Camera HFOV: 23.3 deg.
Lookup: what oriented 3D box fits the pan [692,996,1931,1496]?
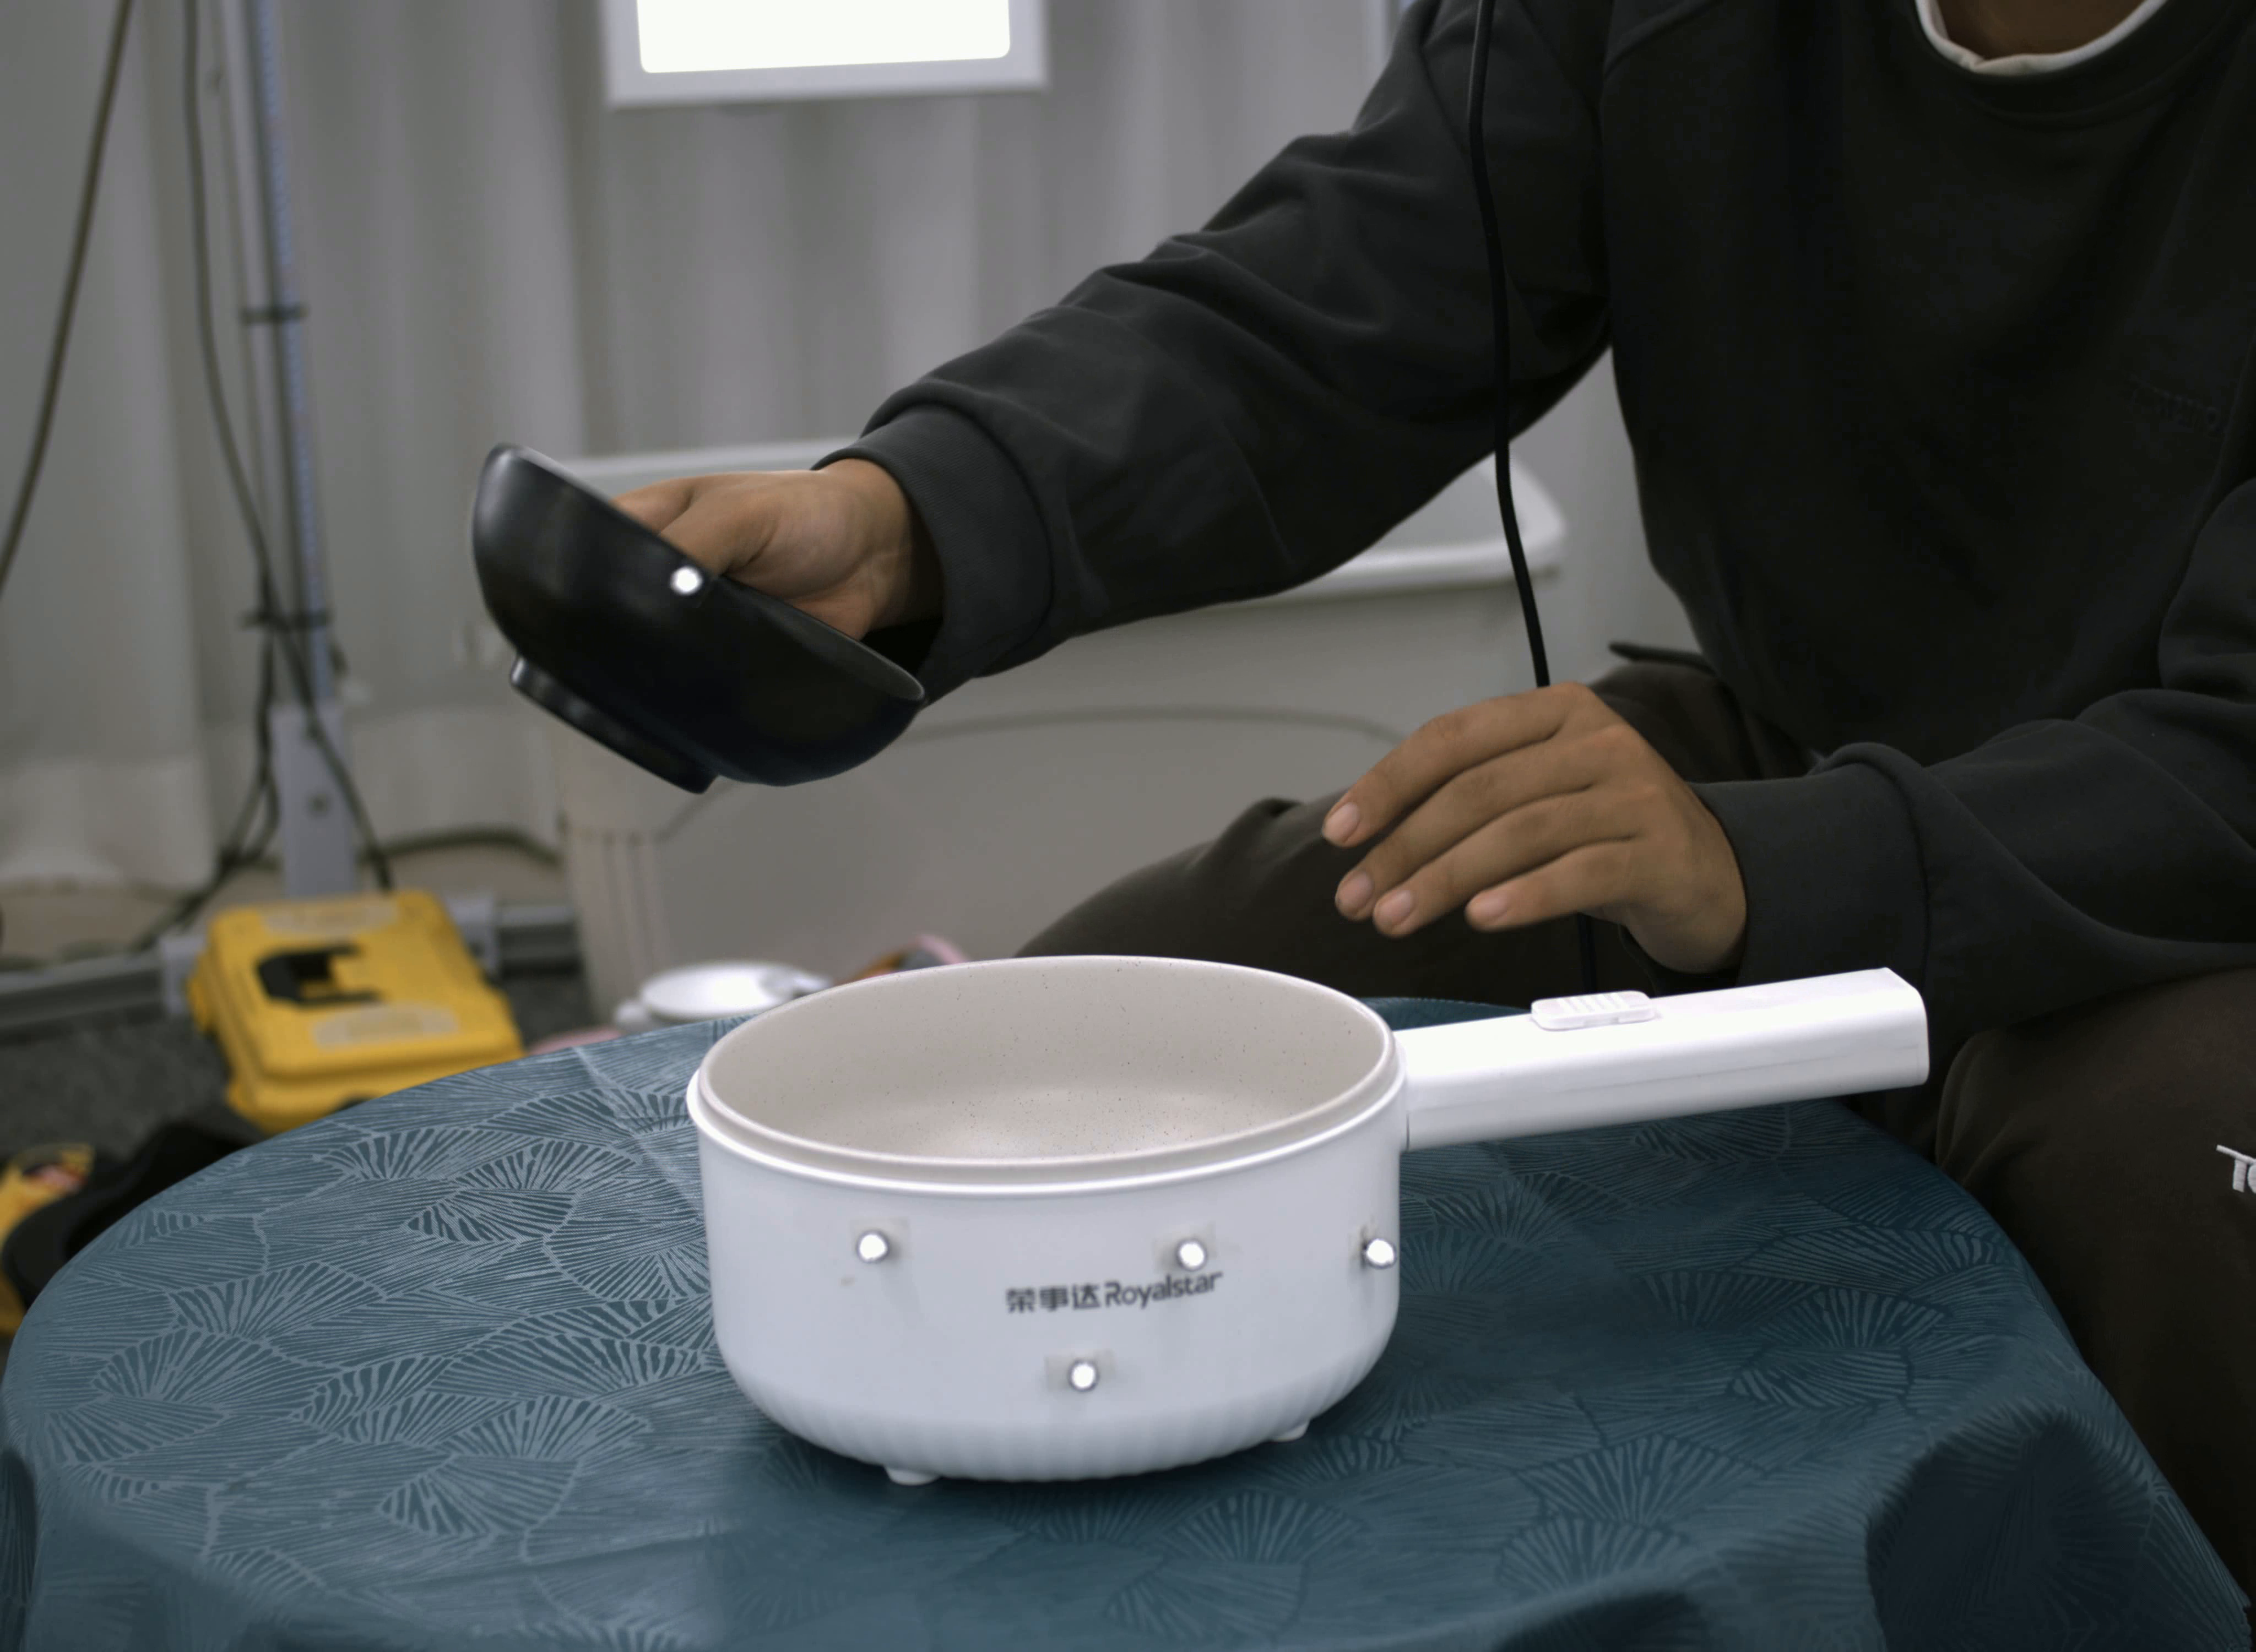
[{"bbox_3d":[0.054,0.114,1.553,0.353,0.102,0.202,-4,11,-12],"label":"pan"}]

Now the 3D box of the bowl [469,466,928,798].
[{"bbox_3d":[-0.142,-0.052,1.650,0.172,0.067,0.136,29,1,44],"label":"bowl"}]
